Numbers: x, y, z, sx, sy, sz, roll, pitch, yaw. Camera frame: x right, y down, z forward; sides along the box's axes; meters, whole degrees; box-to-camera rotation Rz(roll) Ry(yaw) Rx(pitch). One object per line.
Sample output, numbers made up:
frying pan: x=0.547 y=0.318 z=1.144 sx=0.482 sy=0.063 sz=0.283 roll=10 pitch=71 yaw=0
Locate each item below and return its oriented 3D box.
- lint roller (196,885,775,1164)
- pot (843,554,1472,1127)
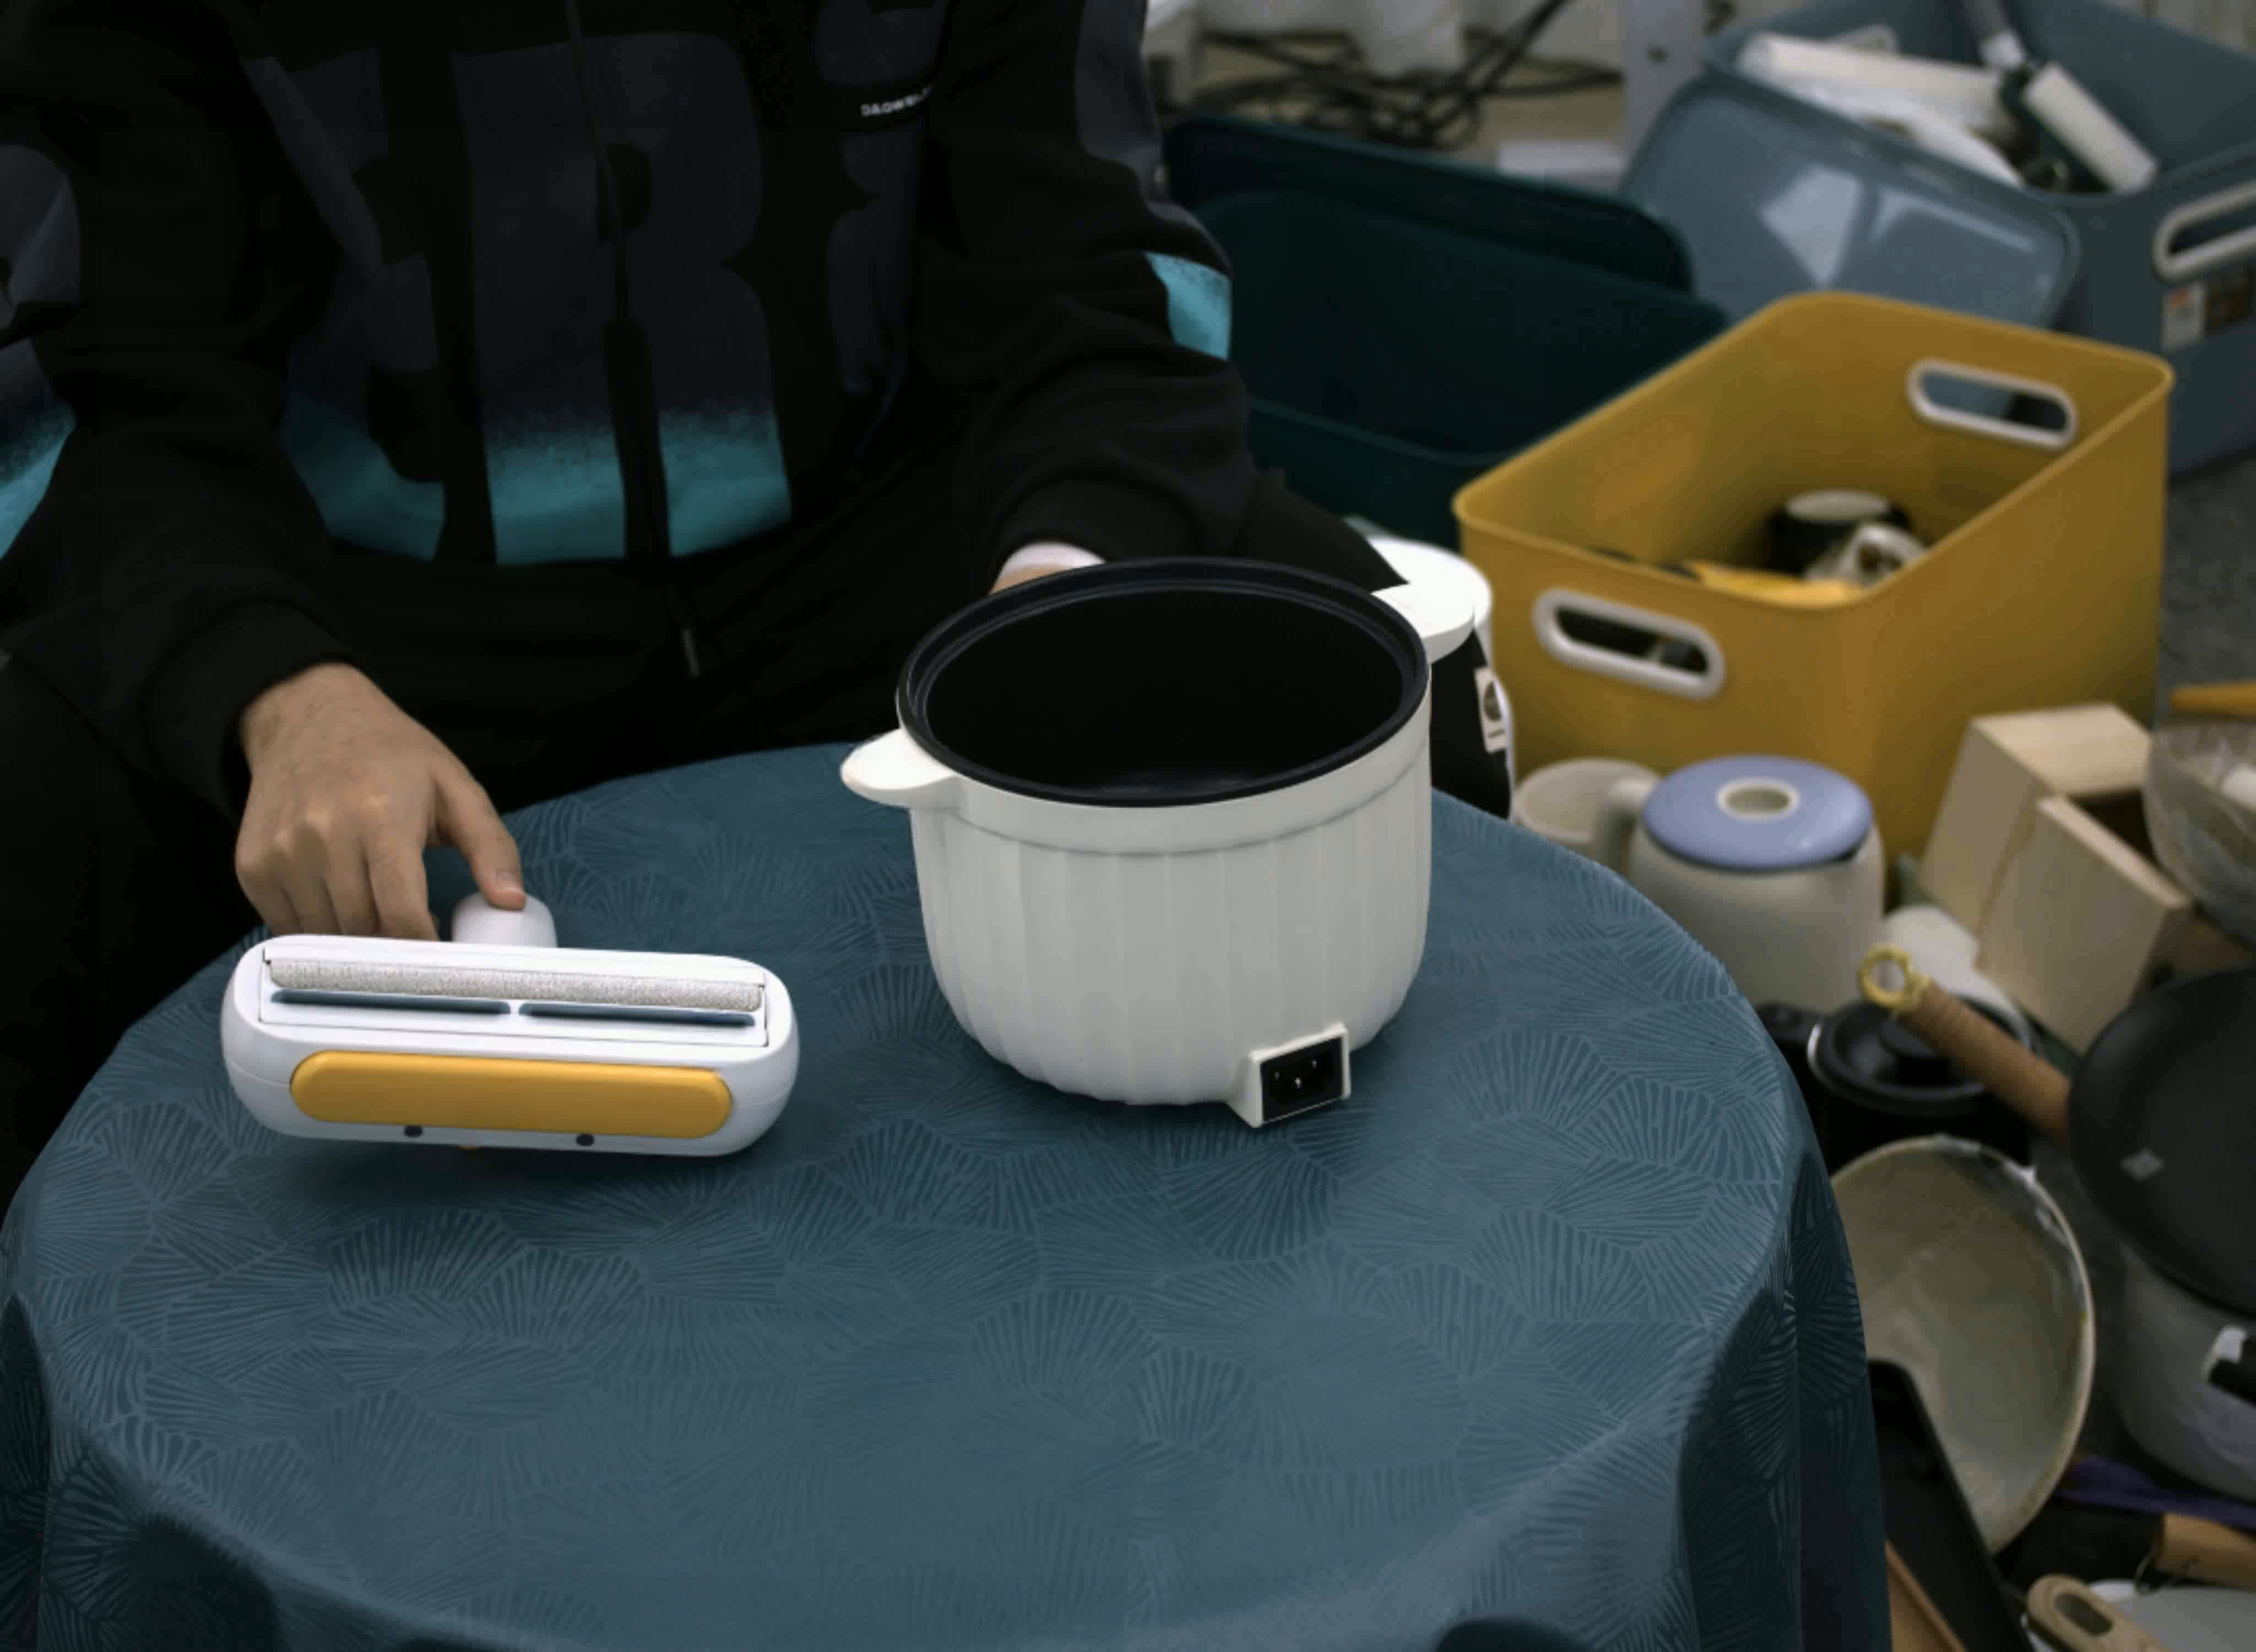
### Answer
lint roller: x=-0.217 y=0.055 z=1.937 sx=0.192 sy=0.073 sz=0.195 roll=1 pitch=26 yaw=-4
pot: x=0.011 y=0.004 z=1.935 sx=0.242 sy=0.141 sz=0.191 roll=-16 pitch=32 yaw=-25
